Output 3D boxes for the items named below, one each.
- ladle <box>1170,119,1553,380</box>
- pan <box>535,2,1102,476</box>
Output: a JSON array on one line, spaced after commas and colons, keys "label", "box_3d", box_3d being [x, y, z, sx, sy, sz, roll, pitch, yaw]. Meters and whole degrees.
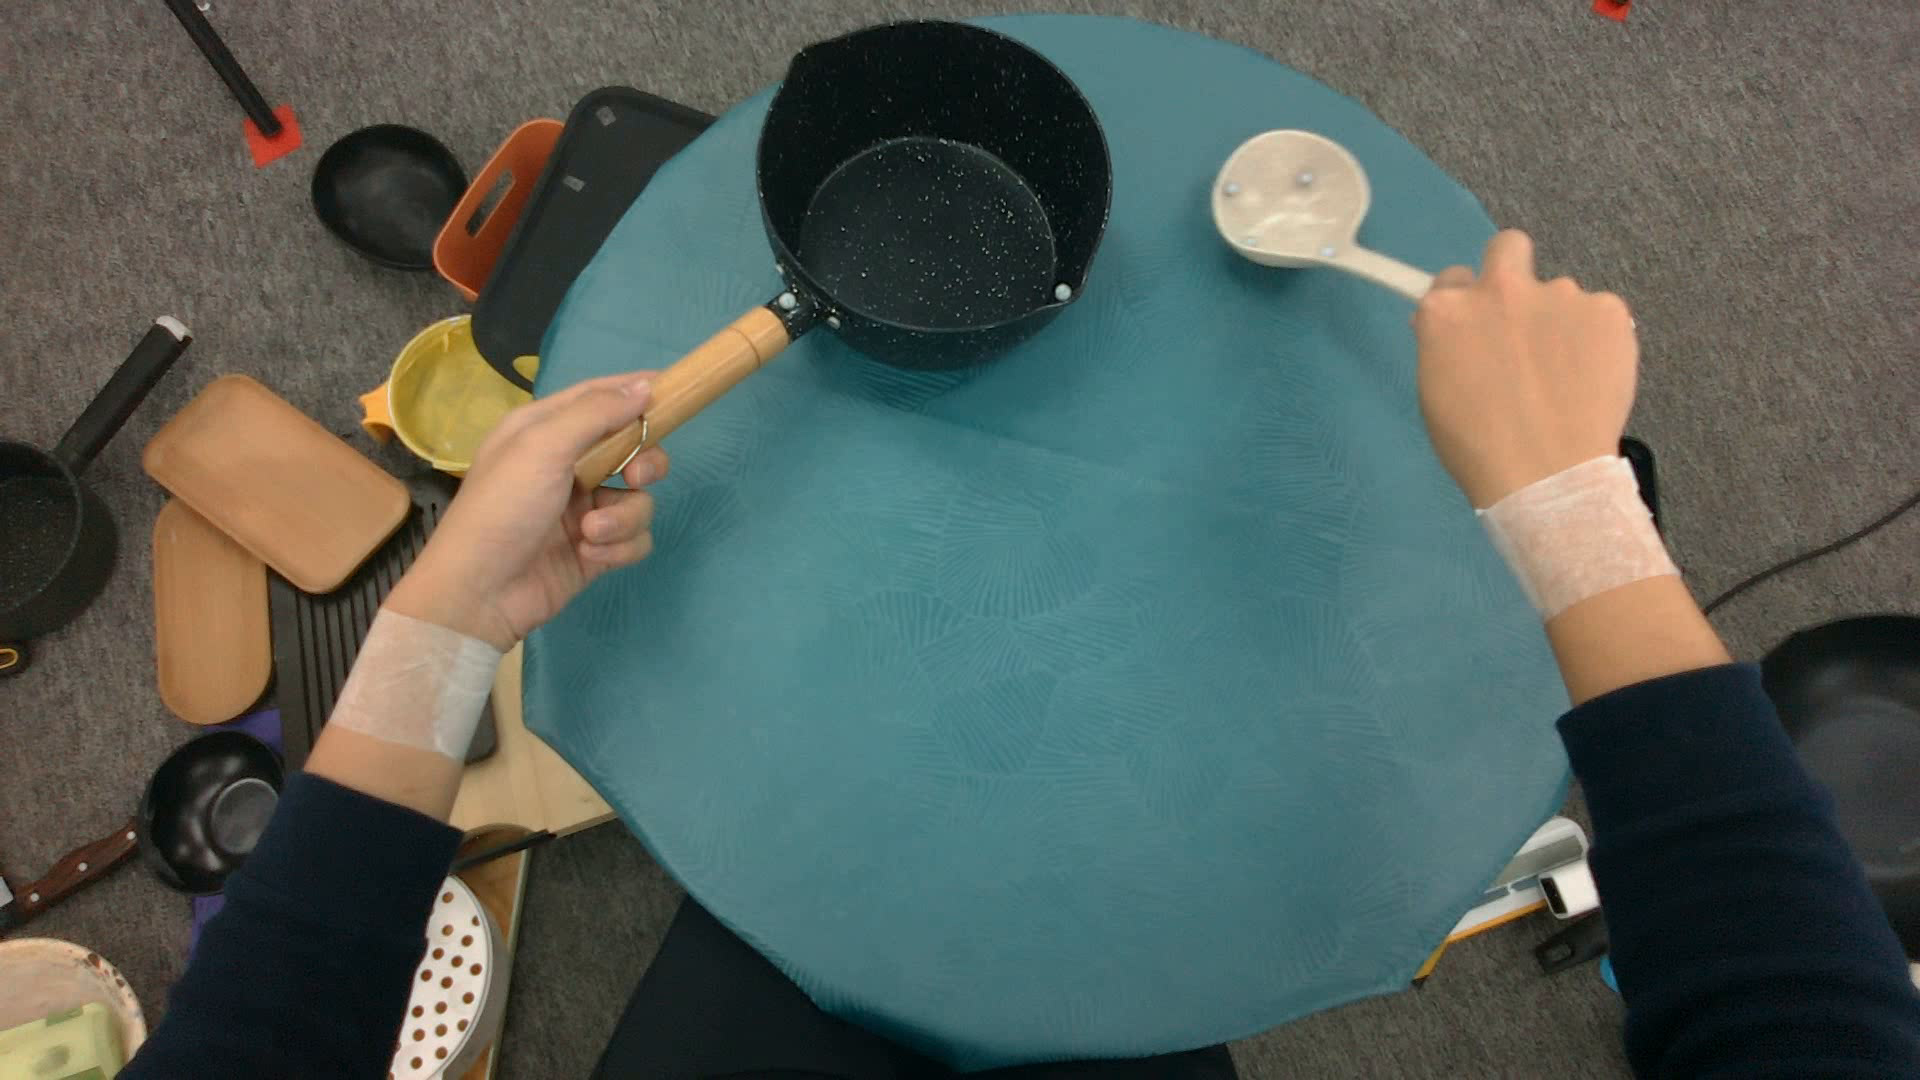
[{"label": "ladle", "box_3d": [0.199, -0.155, 0.689, 0.089, 0.275, 0.069, -12, 118, -18]}, {"label": "pan", "box_3d": [-0.073, -0.135, 0.712, 0.207, 0.108, 0.344, 41, 71, 7]}]
